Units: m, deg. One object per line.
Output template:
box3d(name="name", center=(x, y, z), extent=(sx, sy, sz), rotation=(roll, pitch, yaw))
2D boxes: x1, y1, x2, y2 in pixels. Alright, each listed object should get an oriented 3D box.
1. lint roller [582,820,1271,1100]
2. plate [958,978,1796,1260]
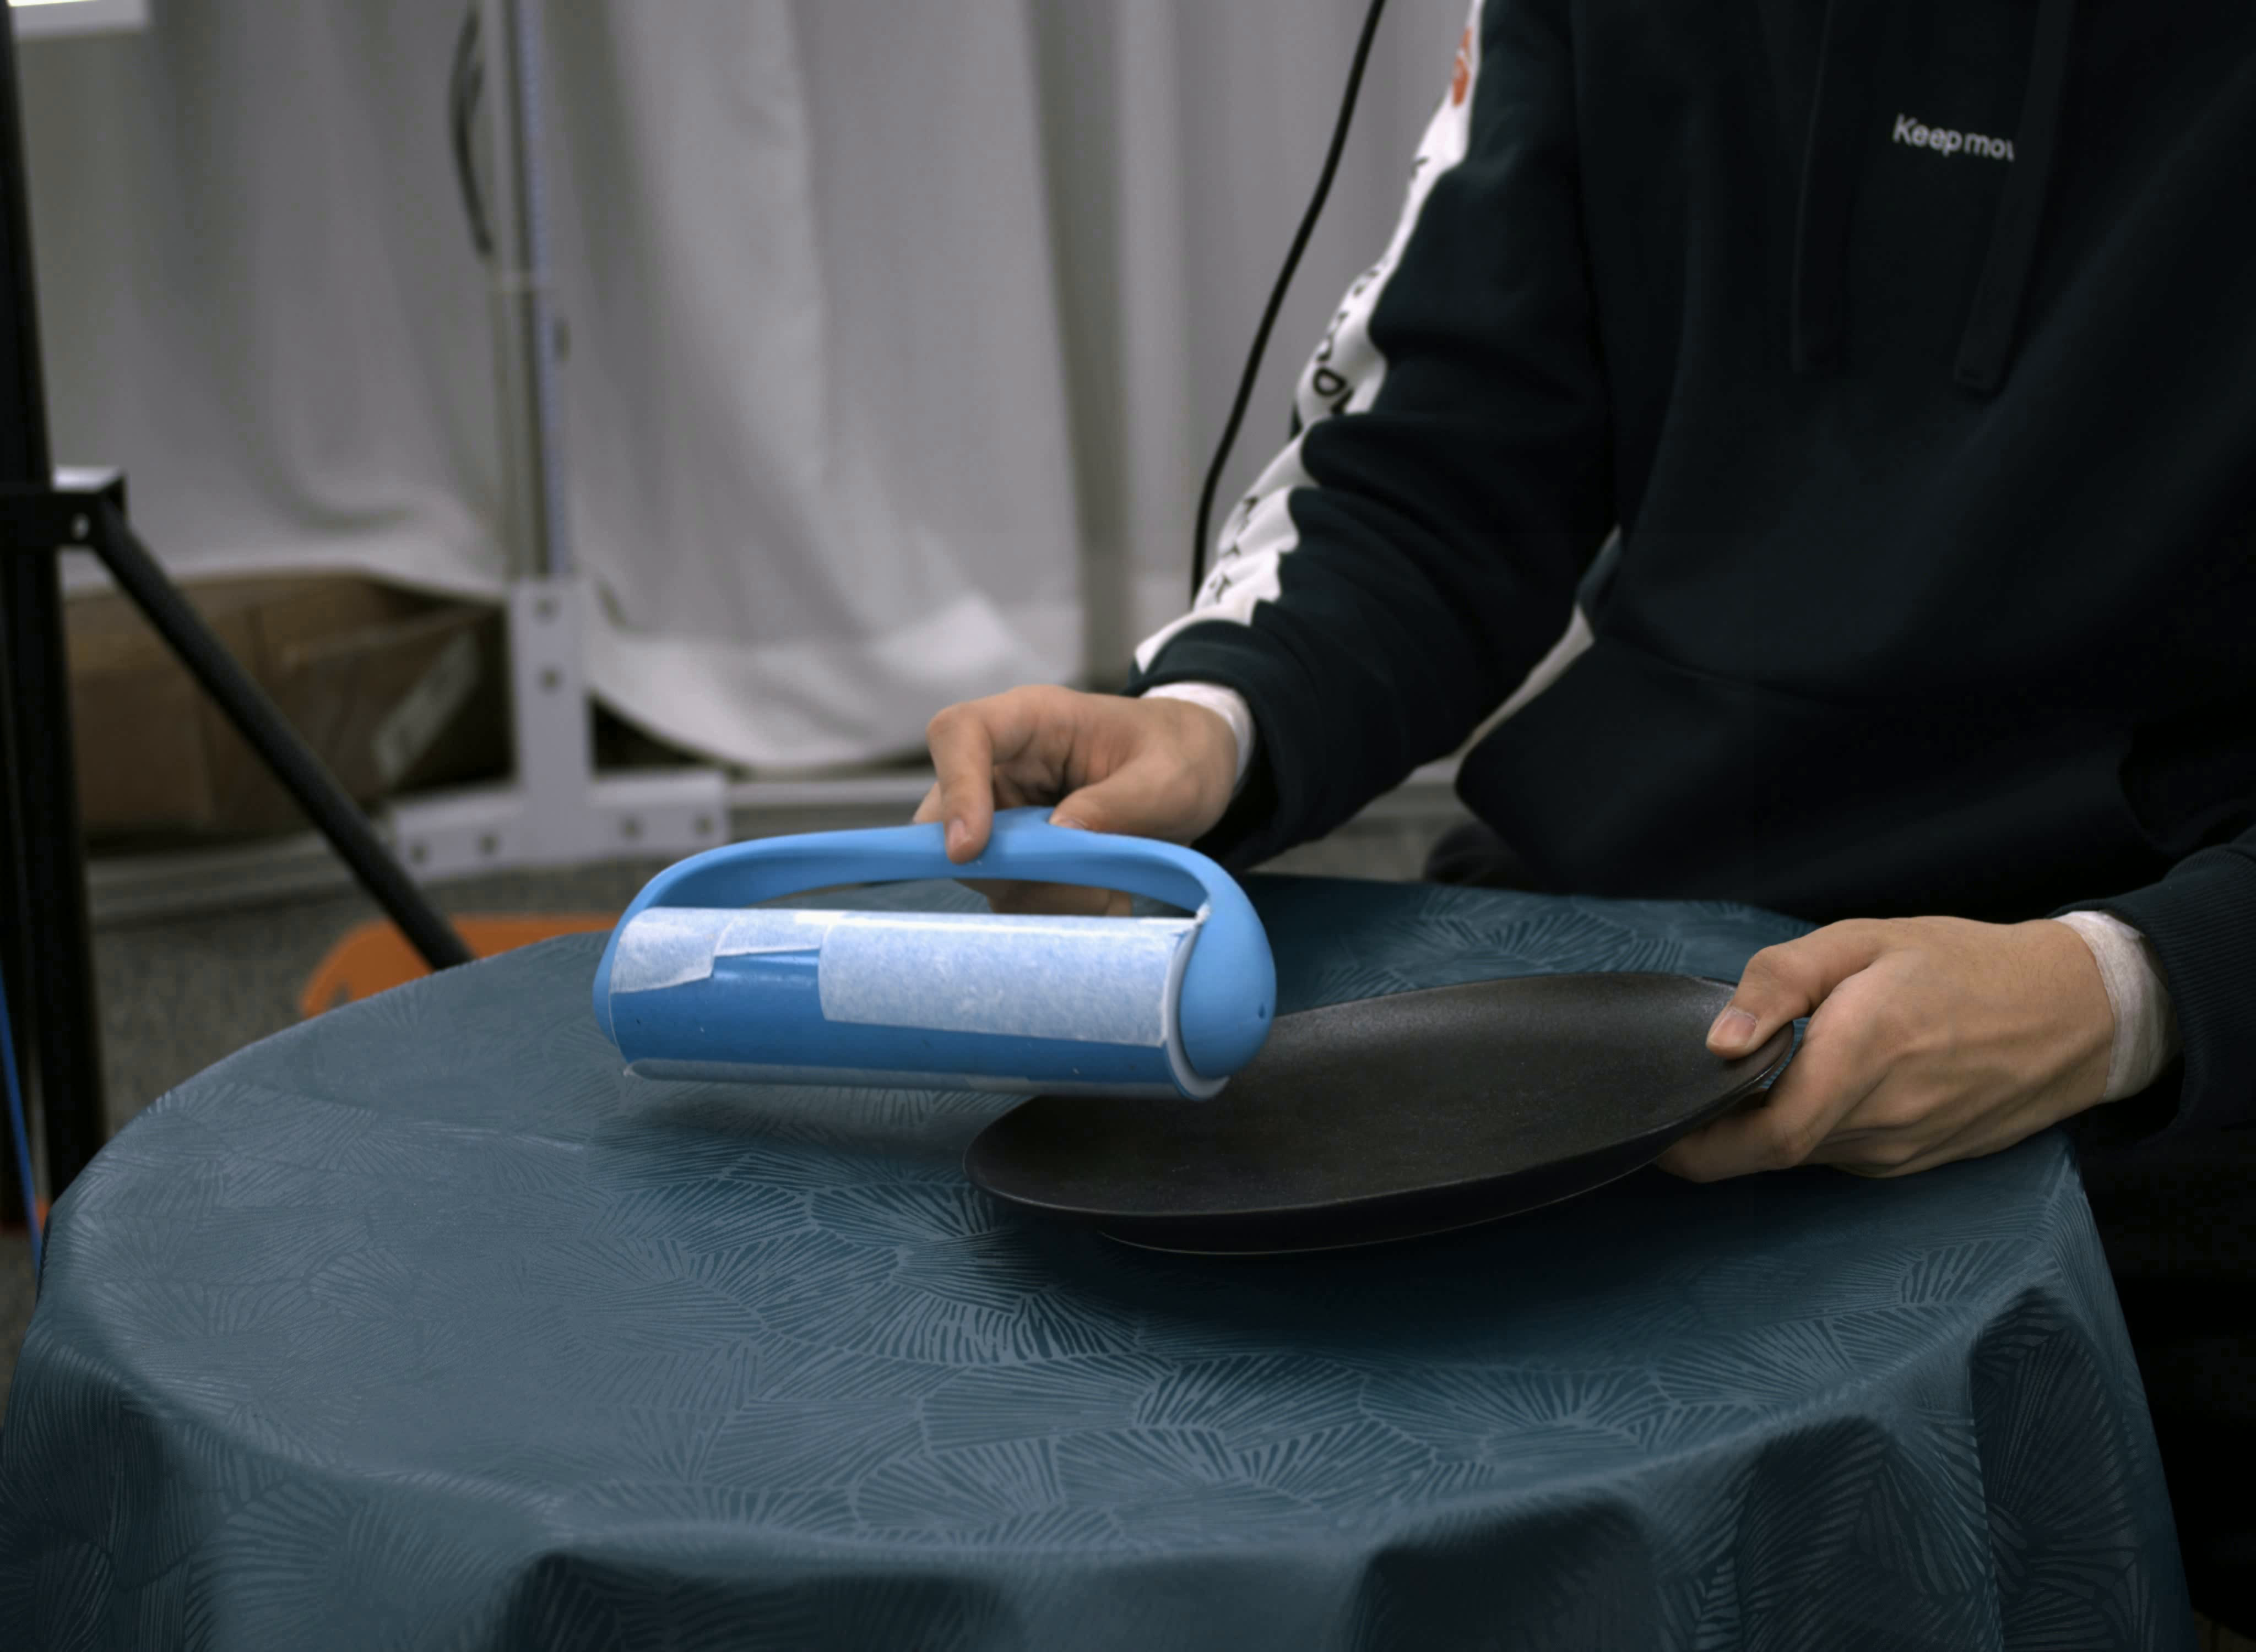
box3d(name="lint roller", center=(-0.040, 0.029, 1.644), extent=(0.232, 0.067, 0.178), rotation=(-2, 21, 27))
box3d(name="plate", center=(0.073, 0.087, 1.528), extent=(0.243, 0.023, 0.245), rotation=(-10, 11, 0))
